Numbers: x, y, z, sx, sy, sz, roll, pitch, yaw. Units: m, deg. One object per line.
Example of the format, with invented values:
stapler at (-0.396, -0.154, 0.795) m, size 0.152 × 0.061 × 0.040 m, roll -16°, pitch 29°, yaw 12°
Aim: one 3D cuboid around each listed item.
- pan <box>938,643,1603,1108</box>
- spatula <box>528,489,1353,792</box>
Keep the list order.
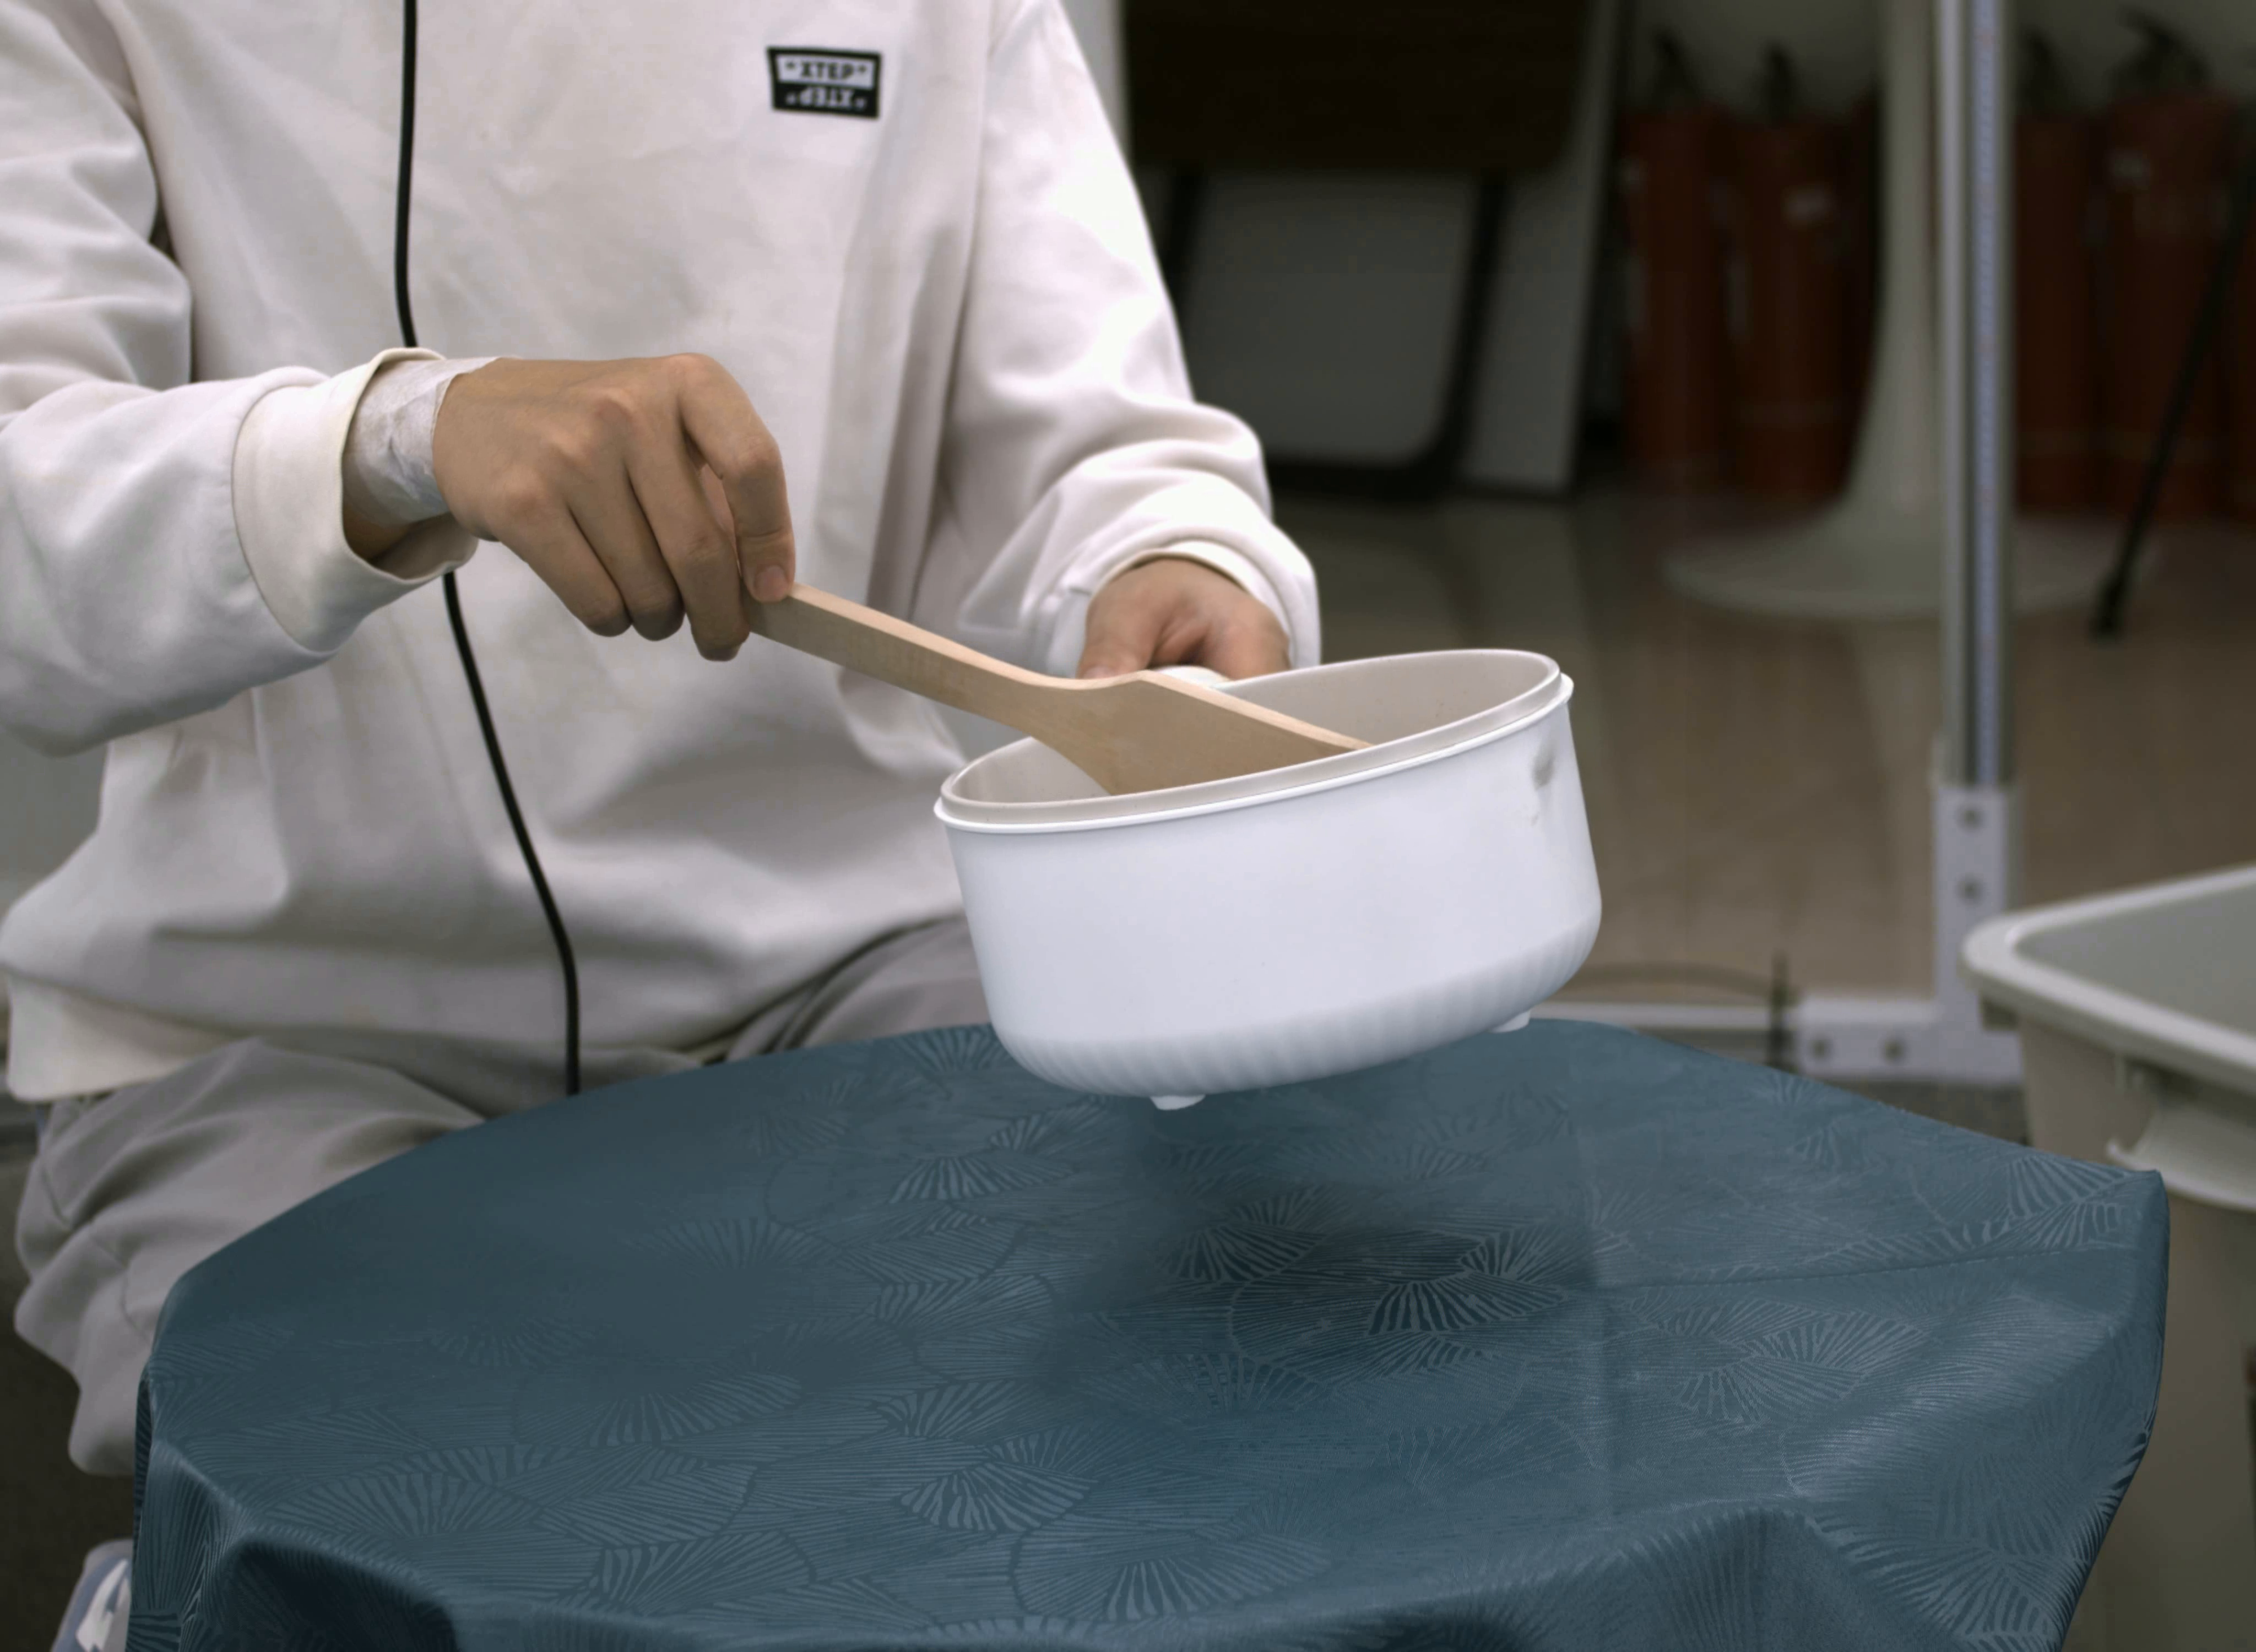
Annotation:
pan at (0.036, 0.009, 1.734) m, size 0.198 × 0.103 × 0.356 m, roll -14°, pitch 8°, yaw -7°
spatula at (-0.057, -0.051, 1.683) m, size 0.292 × 0.072 × 0.010 m, roll 20°, pitch 55°, yaw 13°
